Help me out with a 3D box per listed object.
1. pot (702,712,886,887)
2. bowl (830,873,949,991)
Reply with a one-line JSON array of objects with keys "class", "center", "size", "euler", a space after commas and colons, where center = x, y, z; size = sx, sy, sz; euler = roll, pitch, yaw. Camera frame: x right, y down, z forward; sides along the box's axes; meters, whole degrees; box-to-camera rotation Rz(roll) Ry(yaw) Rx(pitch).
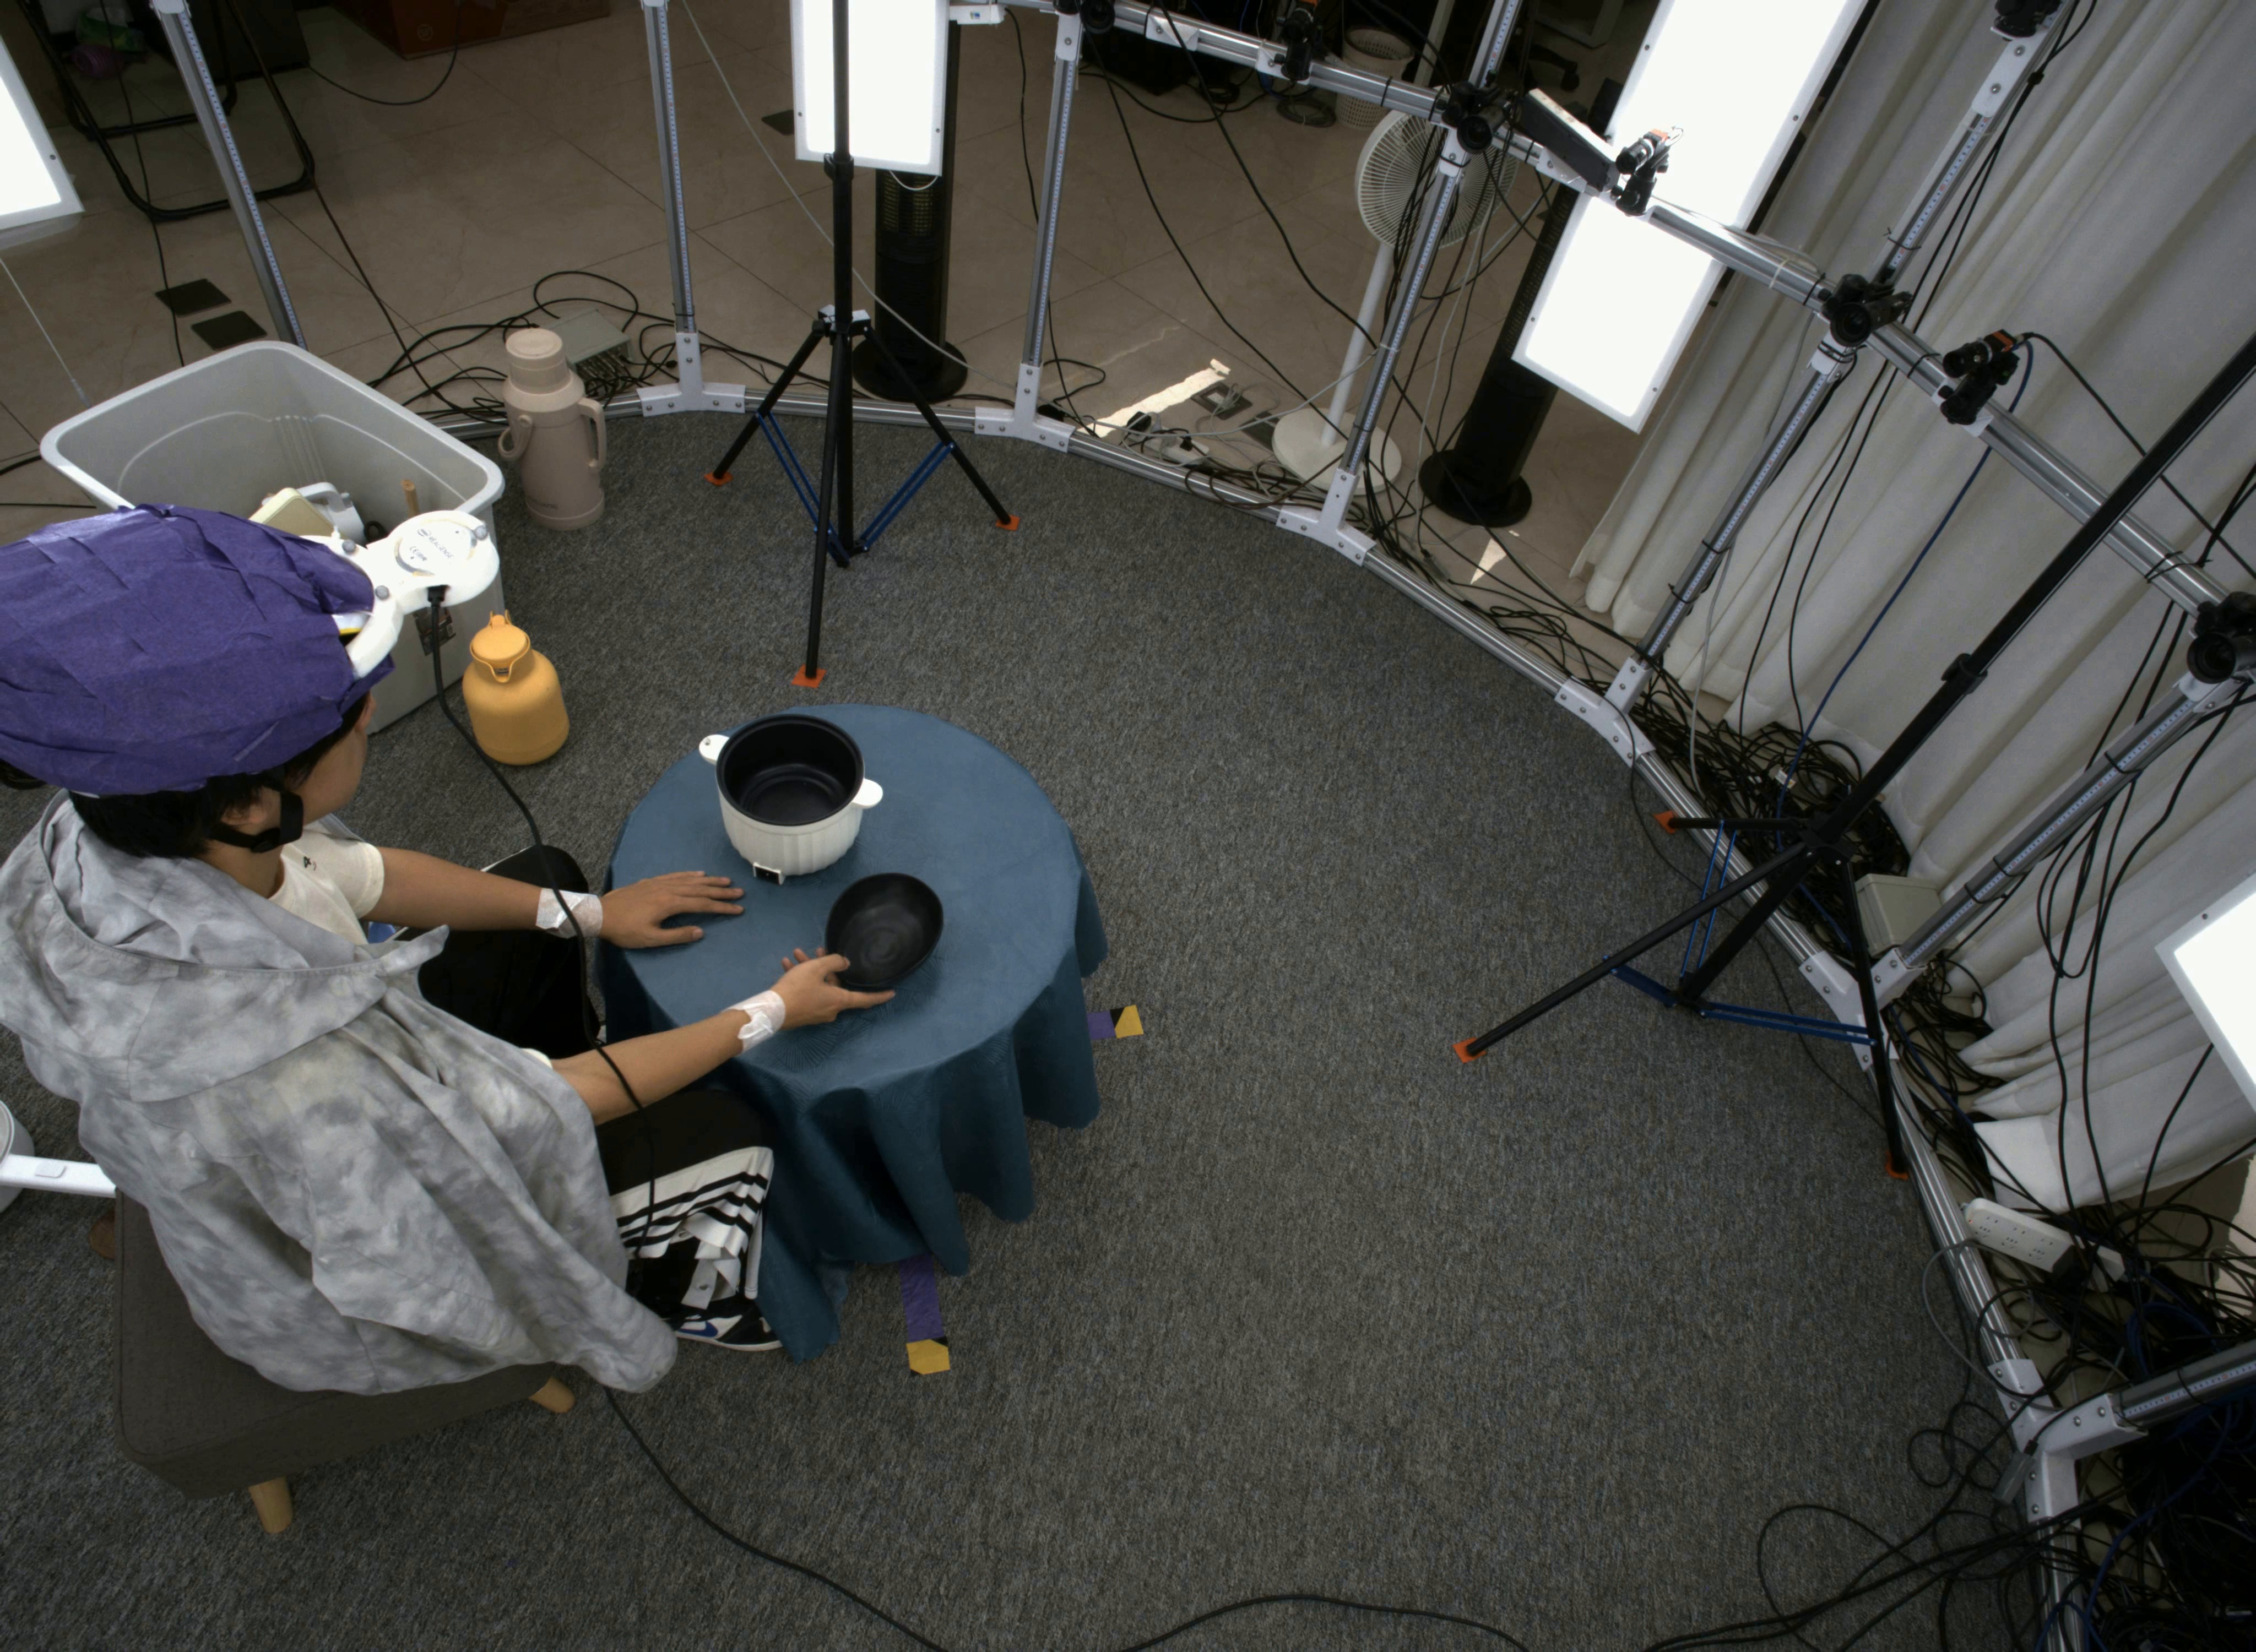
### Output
[{"class": "pot", "center": [-0.424, -0.037, 1.665], "size": [0.238, 0.145, 0.188], "euler": [17, 55, -1]}, {"class": "bowl", "center": [-0.295, 0.139, 1.613], "size": [0.135, 0.068, 0.169], "euler": [22, 53, 5]}]
